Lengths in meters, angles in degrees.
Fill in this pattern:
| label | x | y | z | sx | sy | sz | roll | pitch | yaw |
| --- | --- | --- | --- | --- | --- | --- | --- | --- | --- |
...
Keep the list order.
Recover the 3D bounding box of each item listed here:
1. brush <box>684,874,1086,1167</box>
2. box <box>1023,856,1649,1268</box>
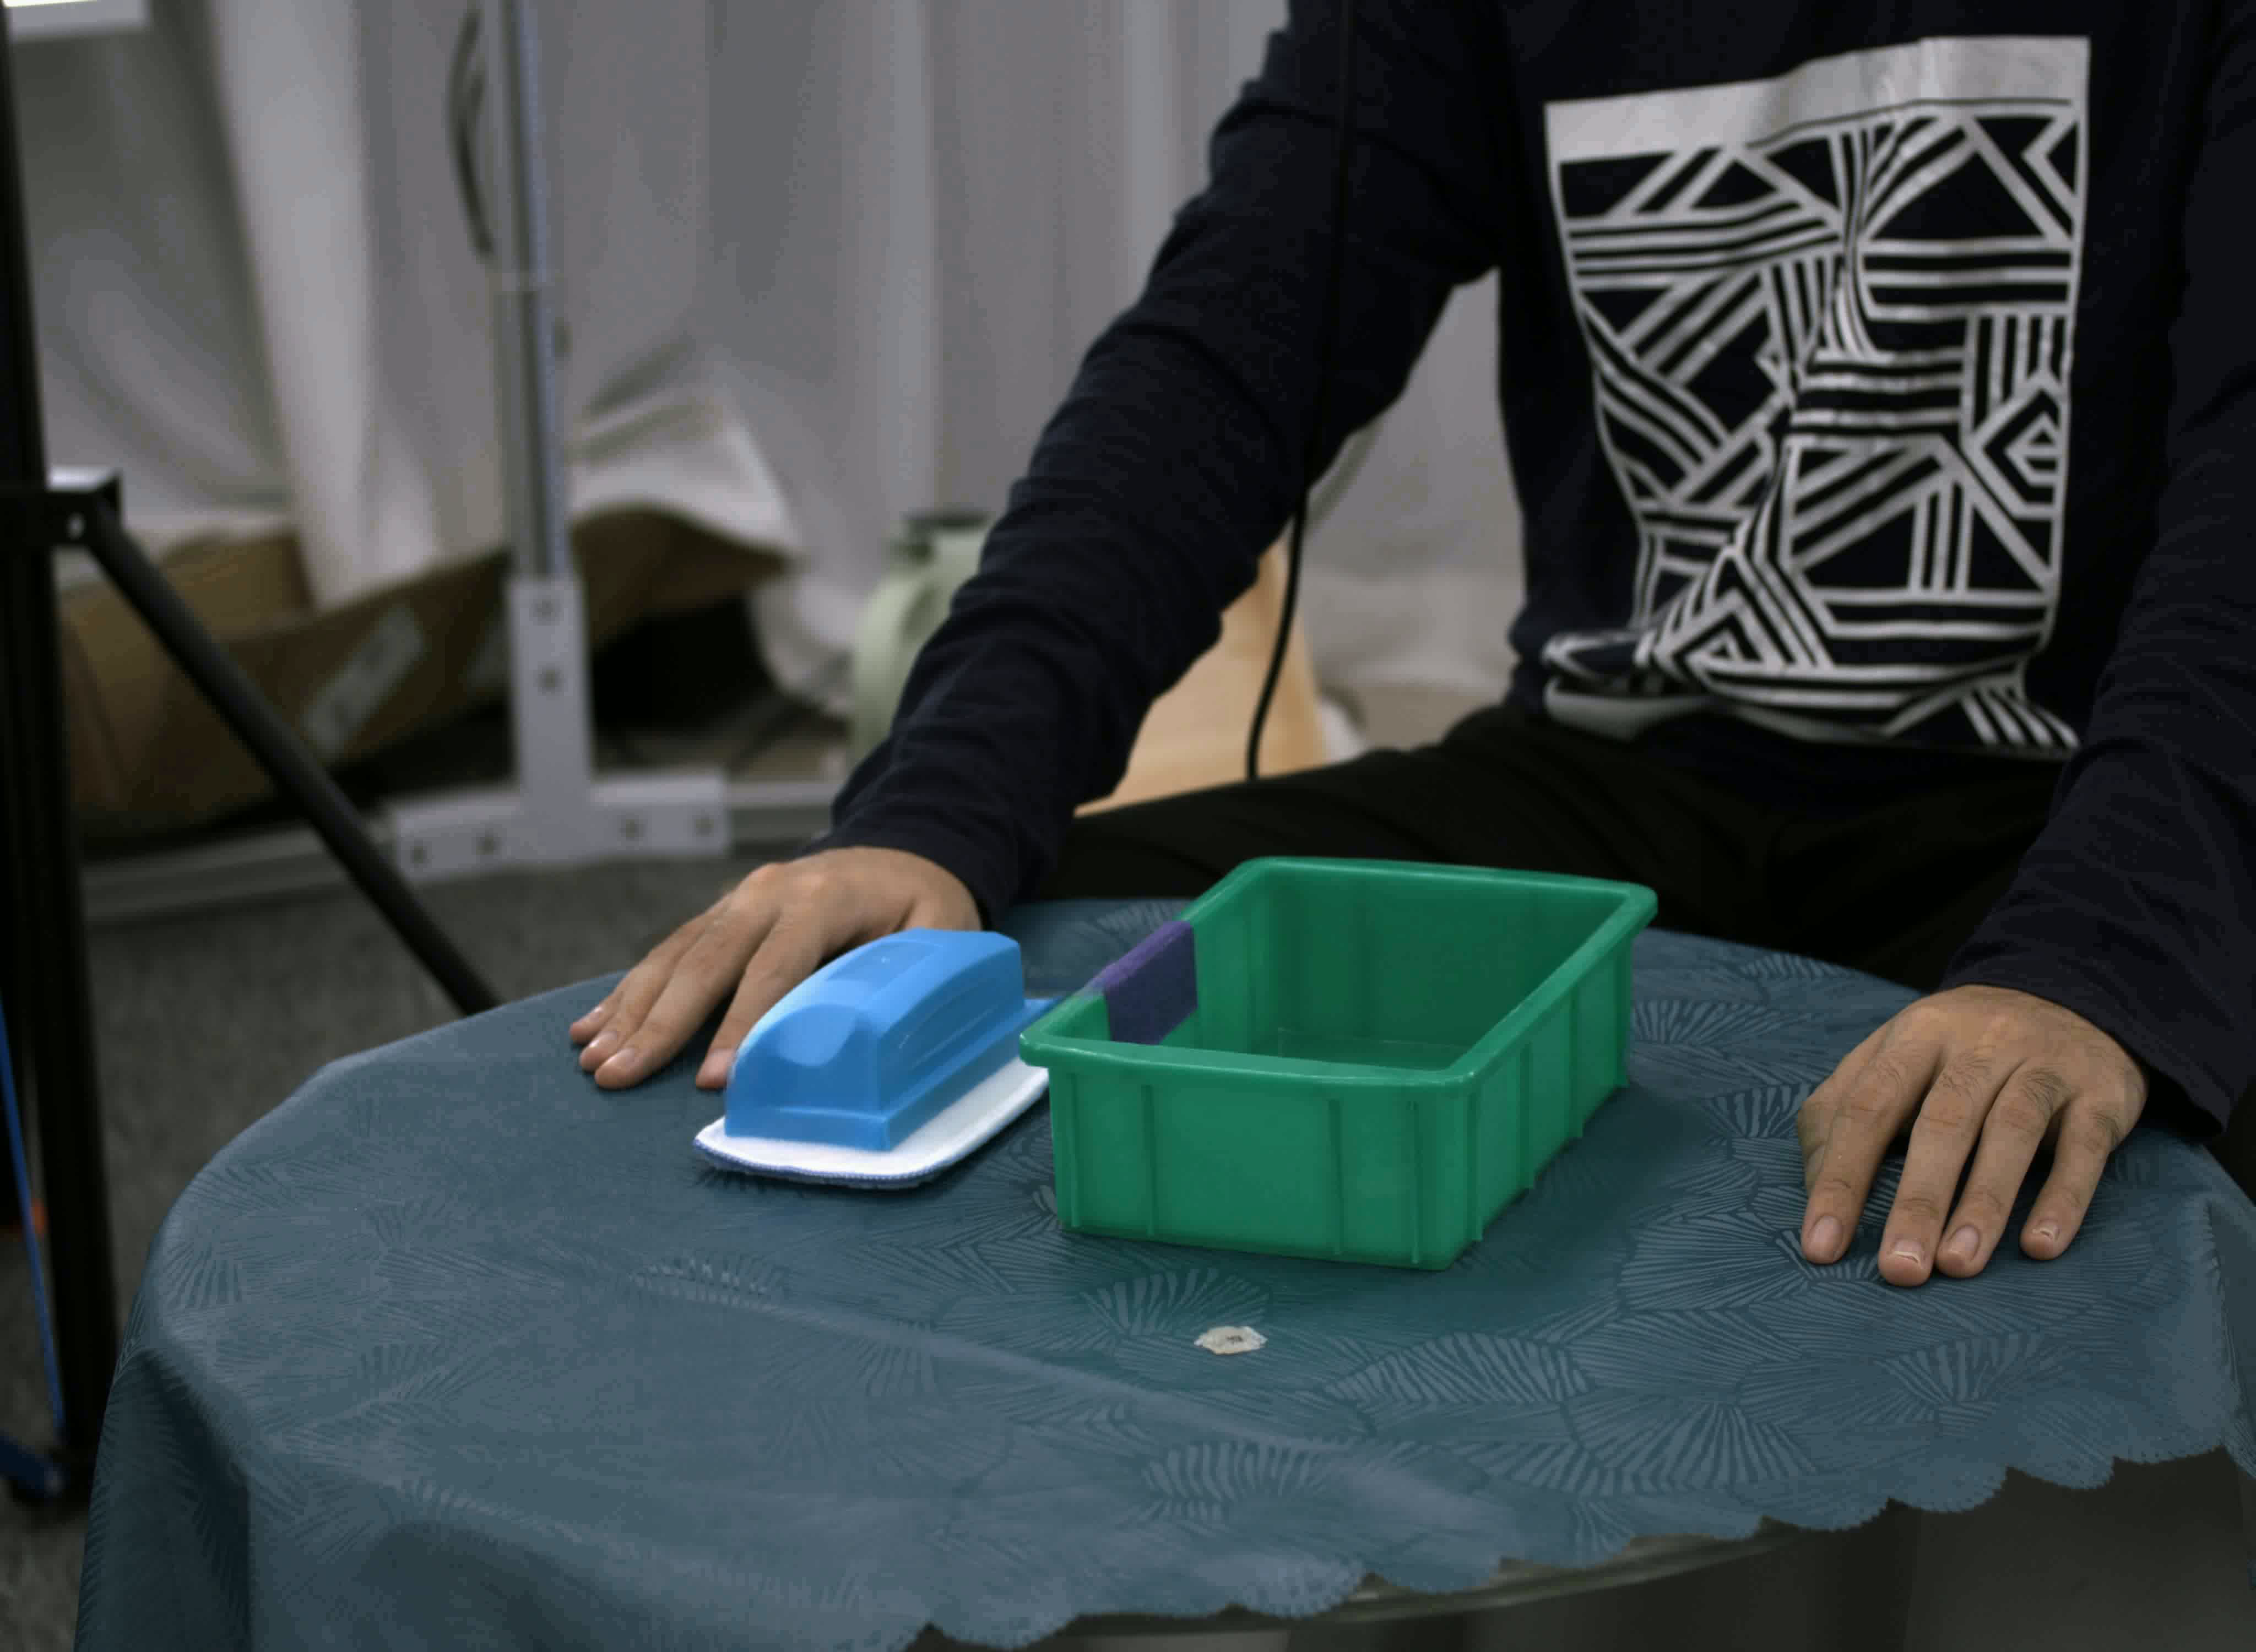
| label | x | y | z | sx | sy | sz | roll | pitch | yaw |
| --- | --- | --- | --- | --- | --- | --- | --- | --- | --- |
| brush | -0.073 | 0.056 | 1.634 | 0.085 | 0.056 | 0.142 | 7 | 23 | 24 |
| box | 0.067 | 0.069 | 1.575 | 0.140 | 0.065 | 0.208 | 1 | 17 | 22 |
